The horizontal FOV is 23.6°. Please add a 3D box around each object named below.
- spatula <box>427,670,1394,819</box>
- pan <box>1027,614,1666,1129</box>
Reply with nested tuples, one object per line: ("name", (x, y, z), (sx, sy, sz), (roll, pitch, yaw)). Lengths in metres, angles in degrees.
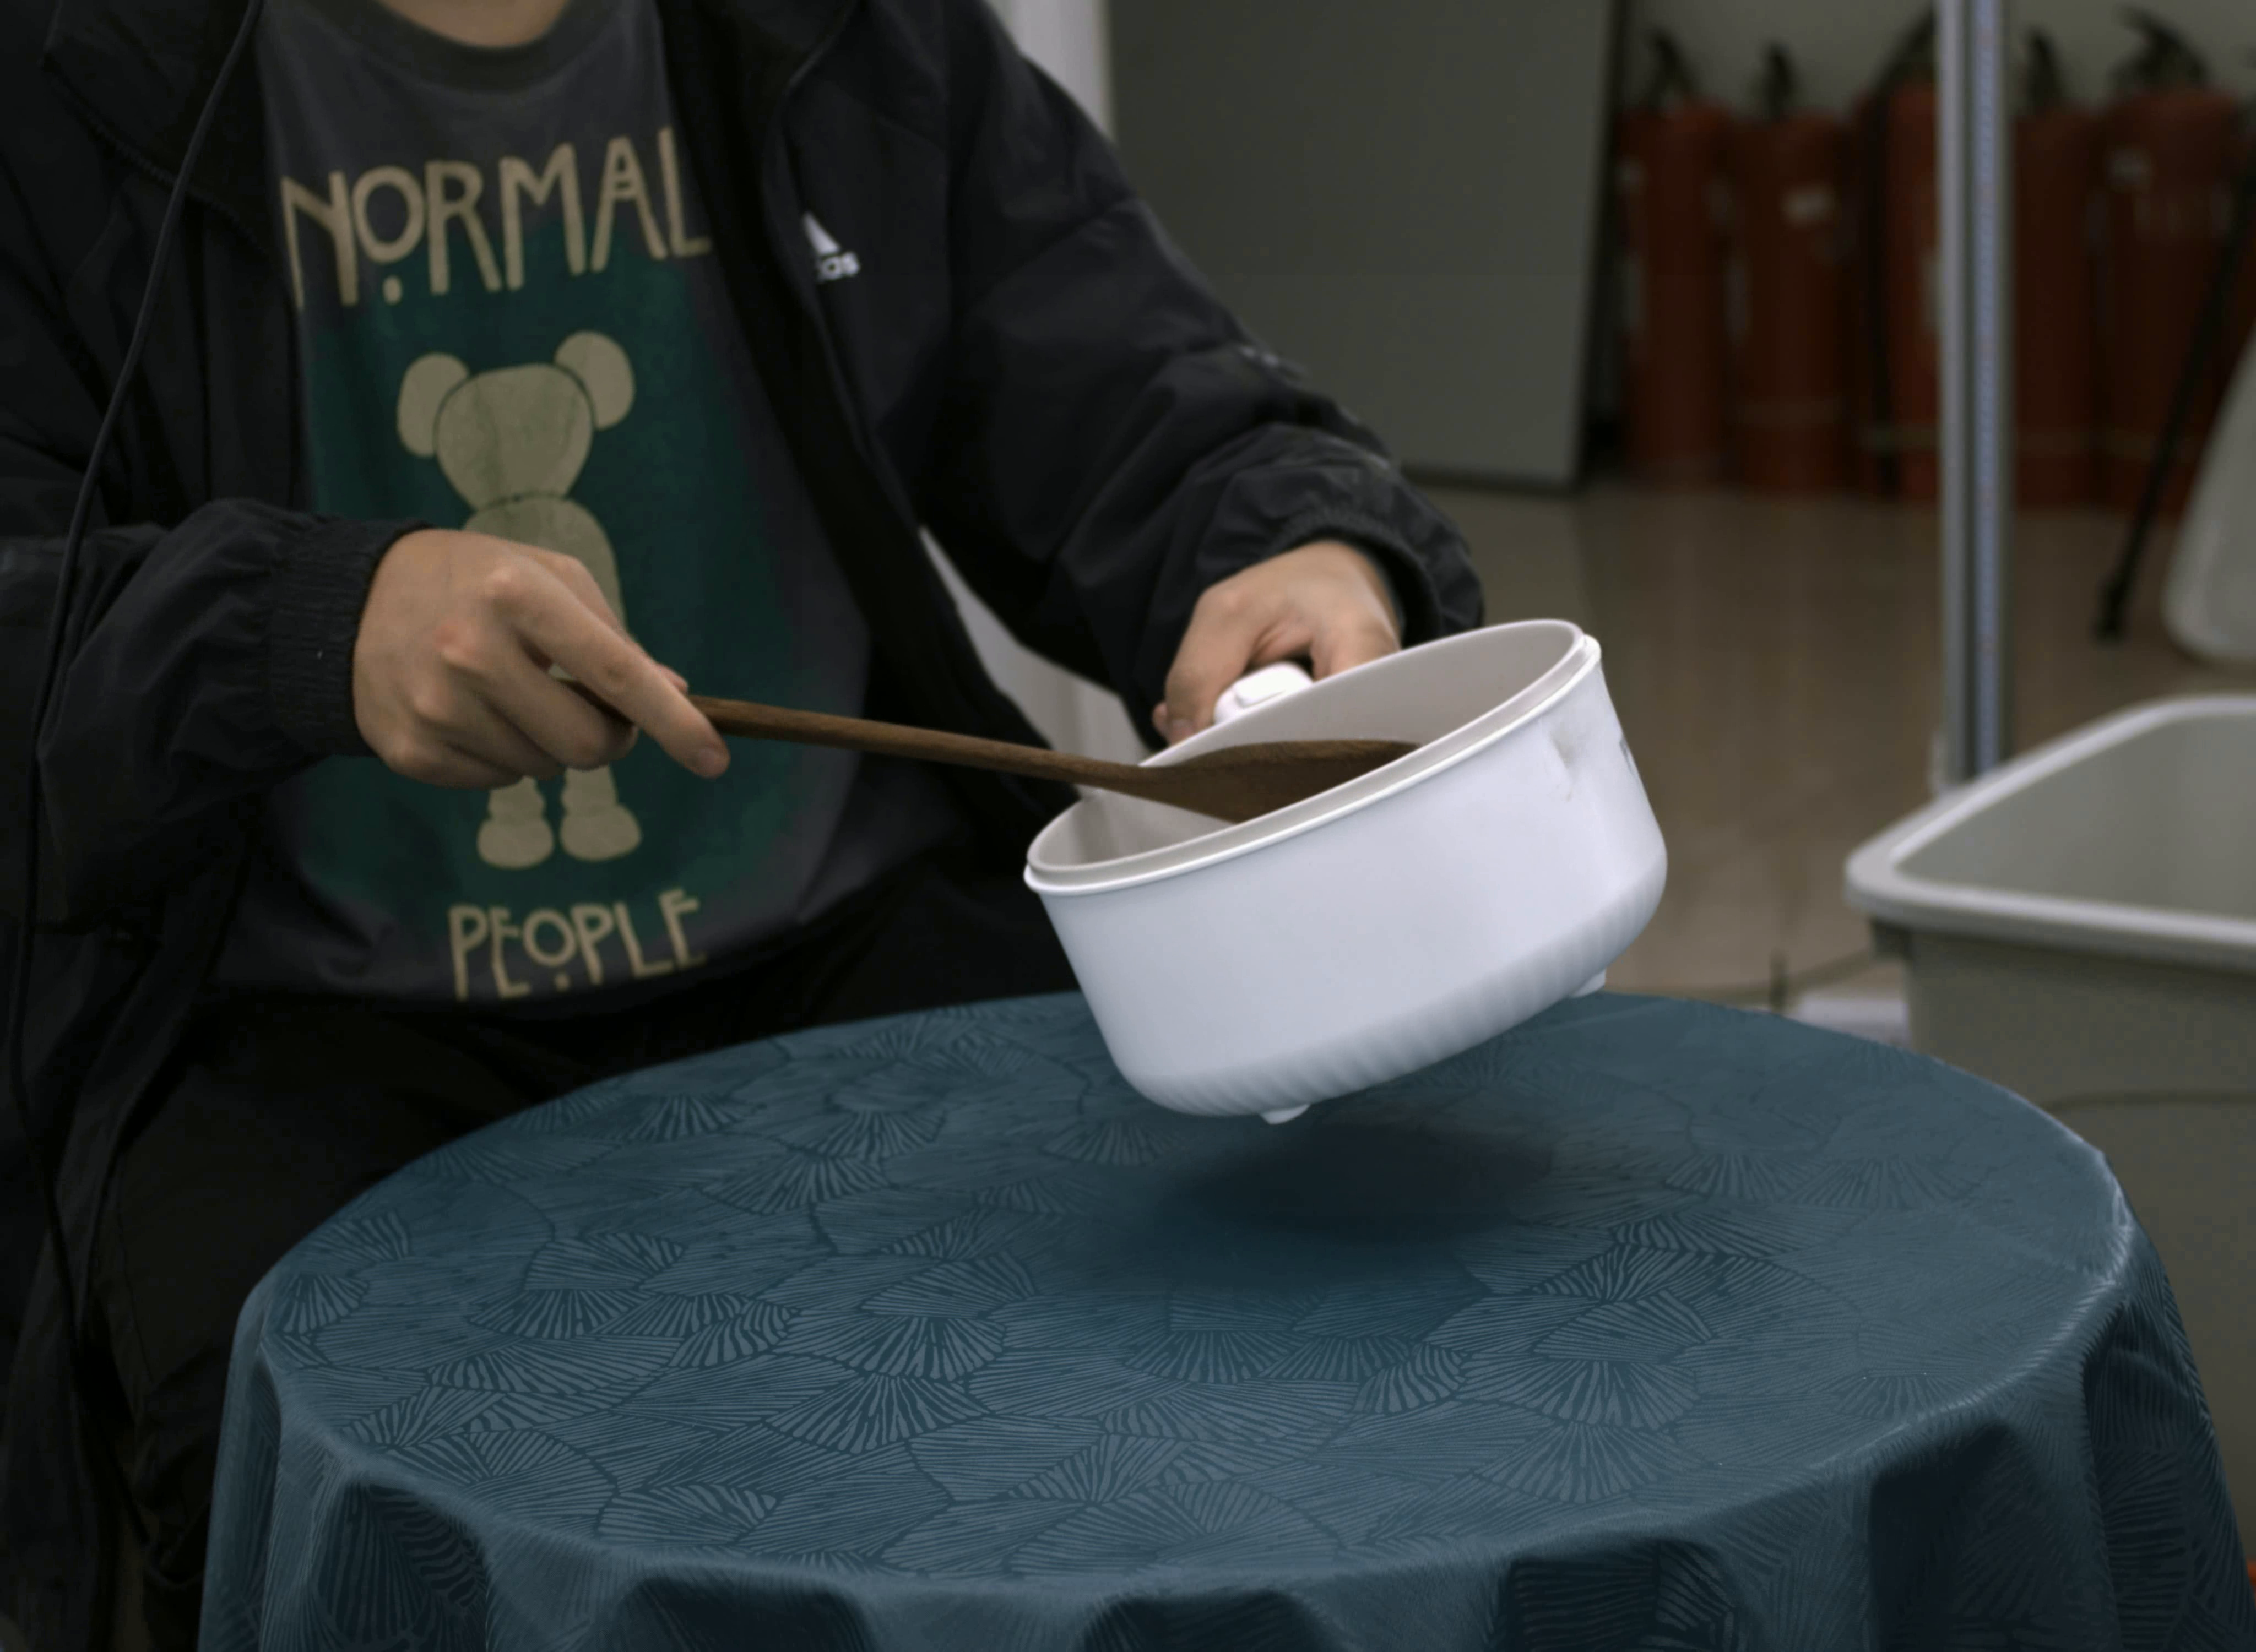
("spatula", (-0.067, -0.027, 1.815), (0.386, 0.016, 0.095), (7, -19, 24))
("pan", (0.071, 0.009, 1.819), (0.199, 0.103, 0.355), (-25, 8, 0))
